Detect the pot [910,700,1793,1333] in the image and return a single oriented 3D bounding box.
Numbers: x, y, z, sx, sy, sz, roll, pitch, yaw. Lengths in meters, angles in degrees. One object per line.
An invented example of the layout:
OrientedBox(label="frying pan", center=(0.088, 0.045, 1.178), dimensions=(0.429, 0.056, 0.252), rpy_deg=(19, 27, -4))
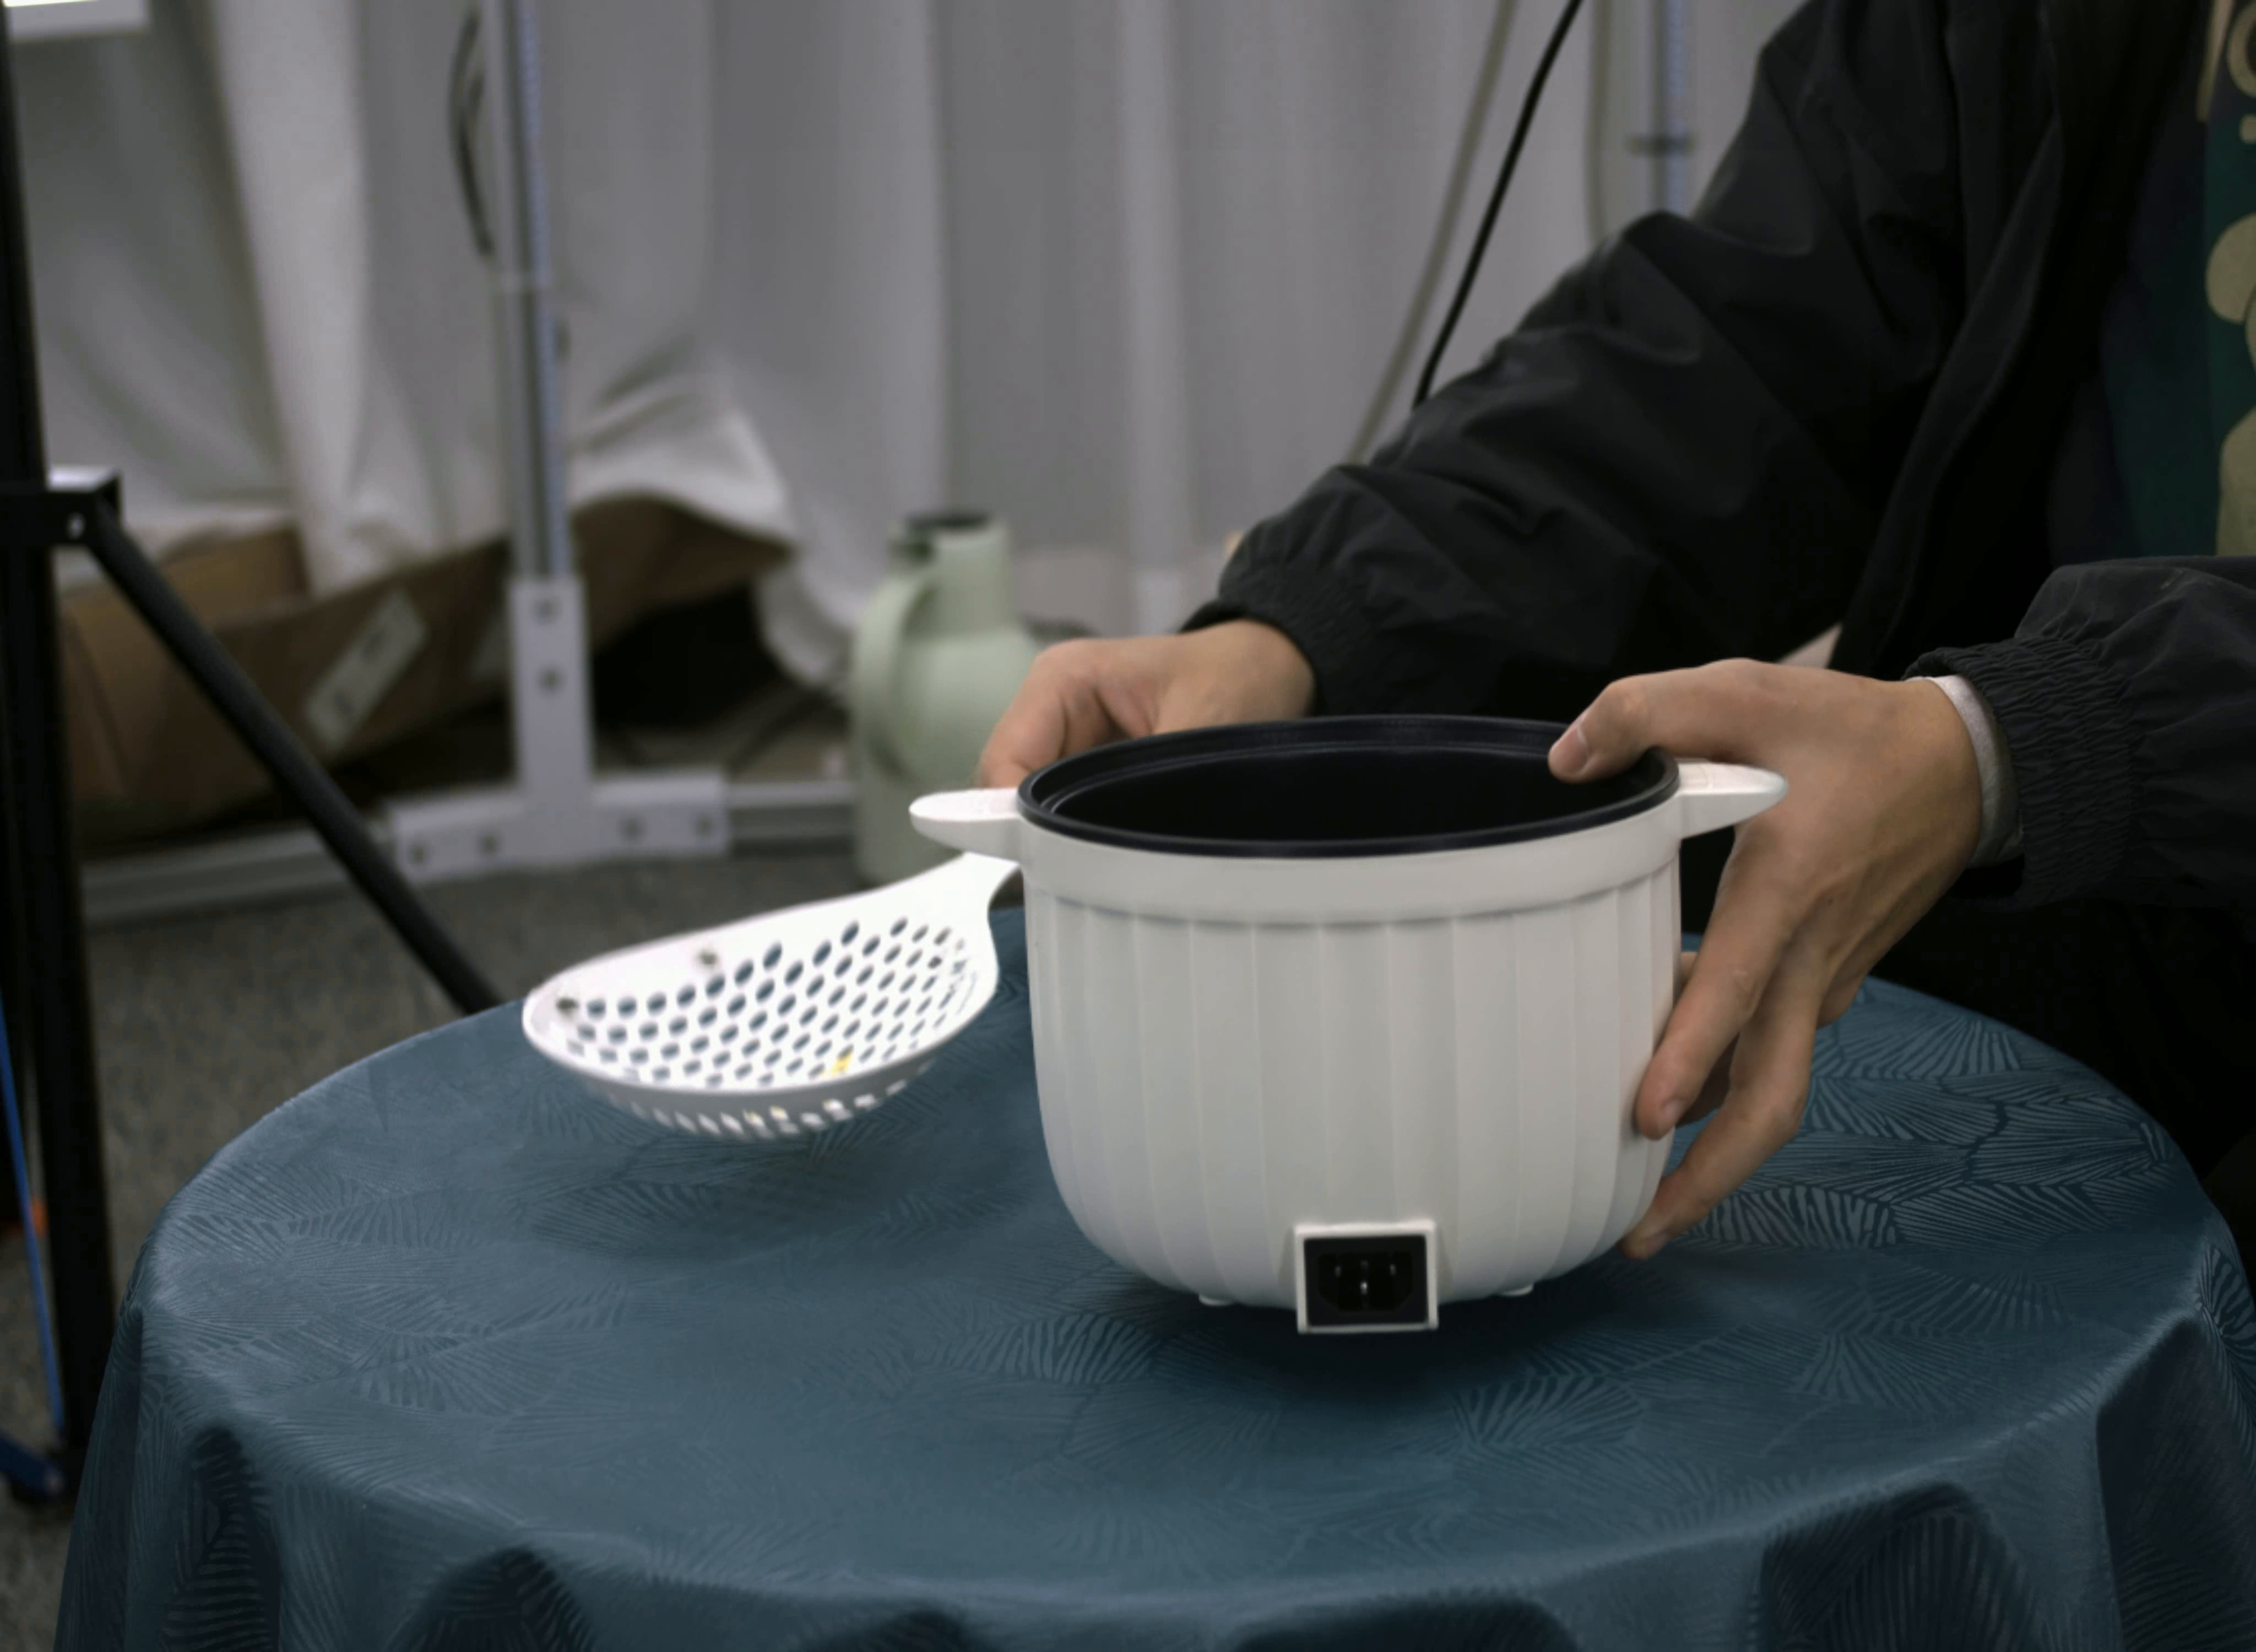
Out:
OrientedBox(label="pot", center=(0.061, 0.048, 1.459), dimensions=(0.240, 0.142, 0.191), rpy_deg=(-1, 15, 3))

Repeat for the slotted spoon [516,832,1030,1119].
OrientedBox(label="slotted spoon", center=(-0.062, 0.028, 1.685), dimensions=(0.139, 0.050, 0.343), rpy_deg=(8, 23, 26))
